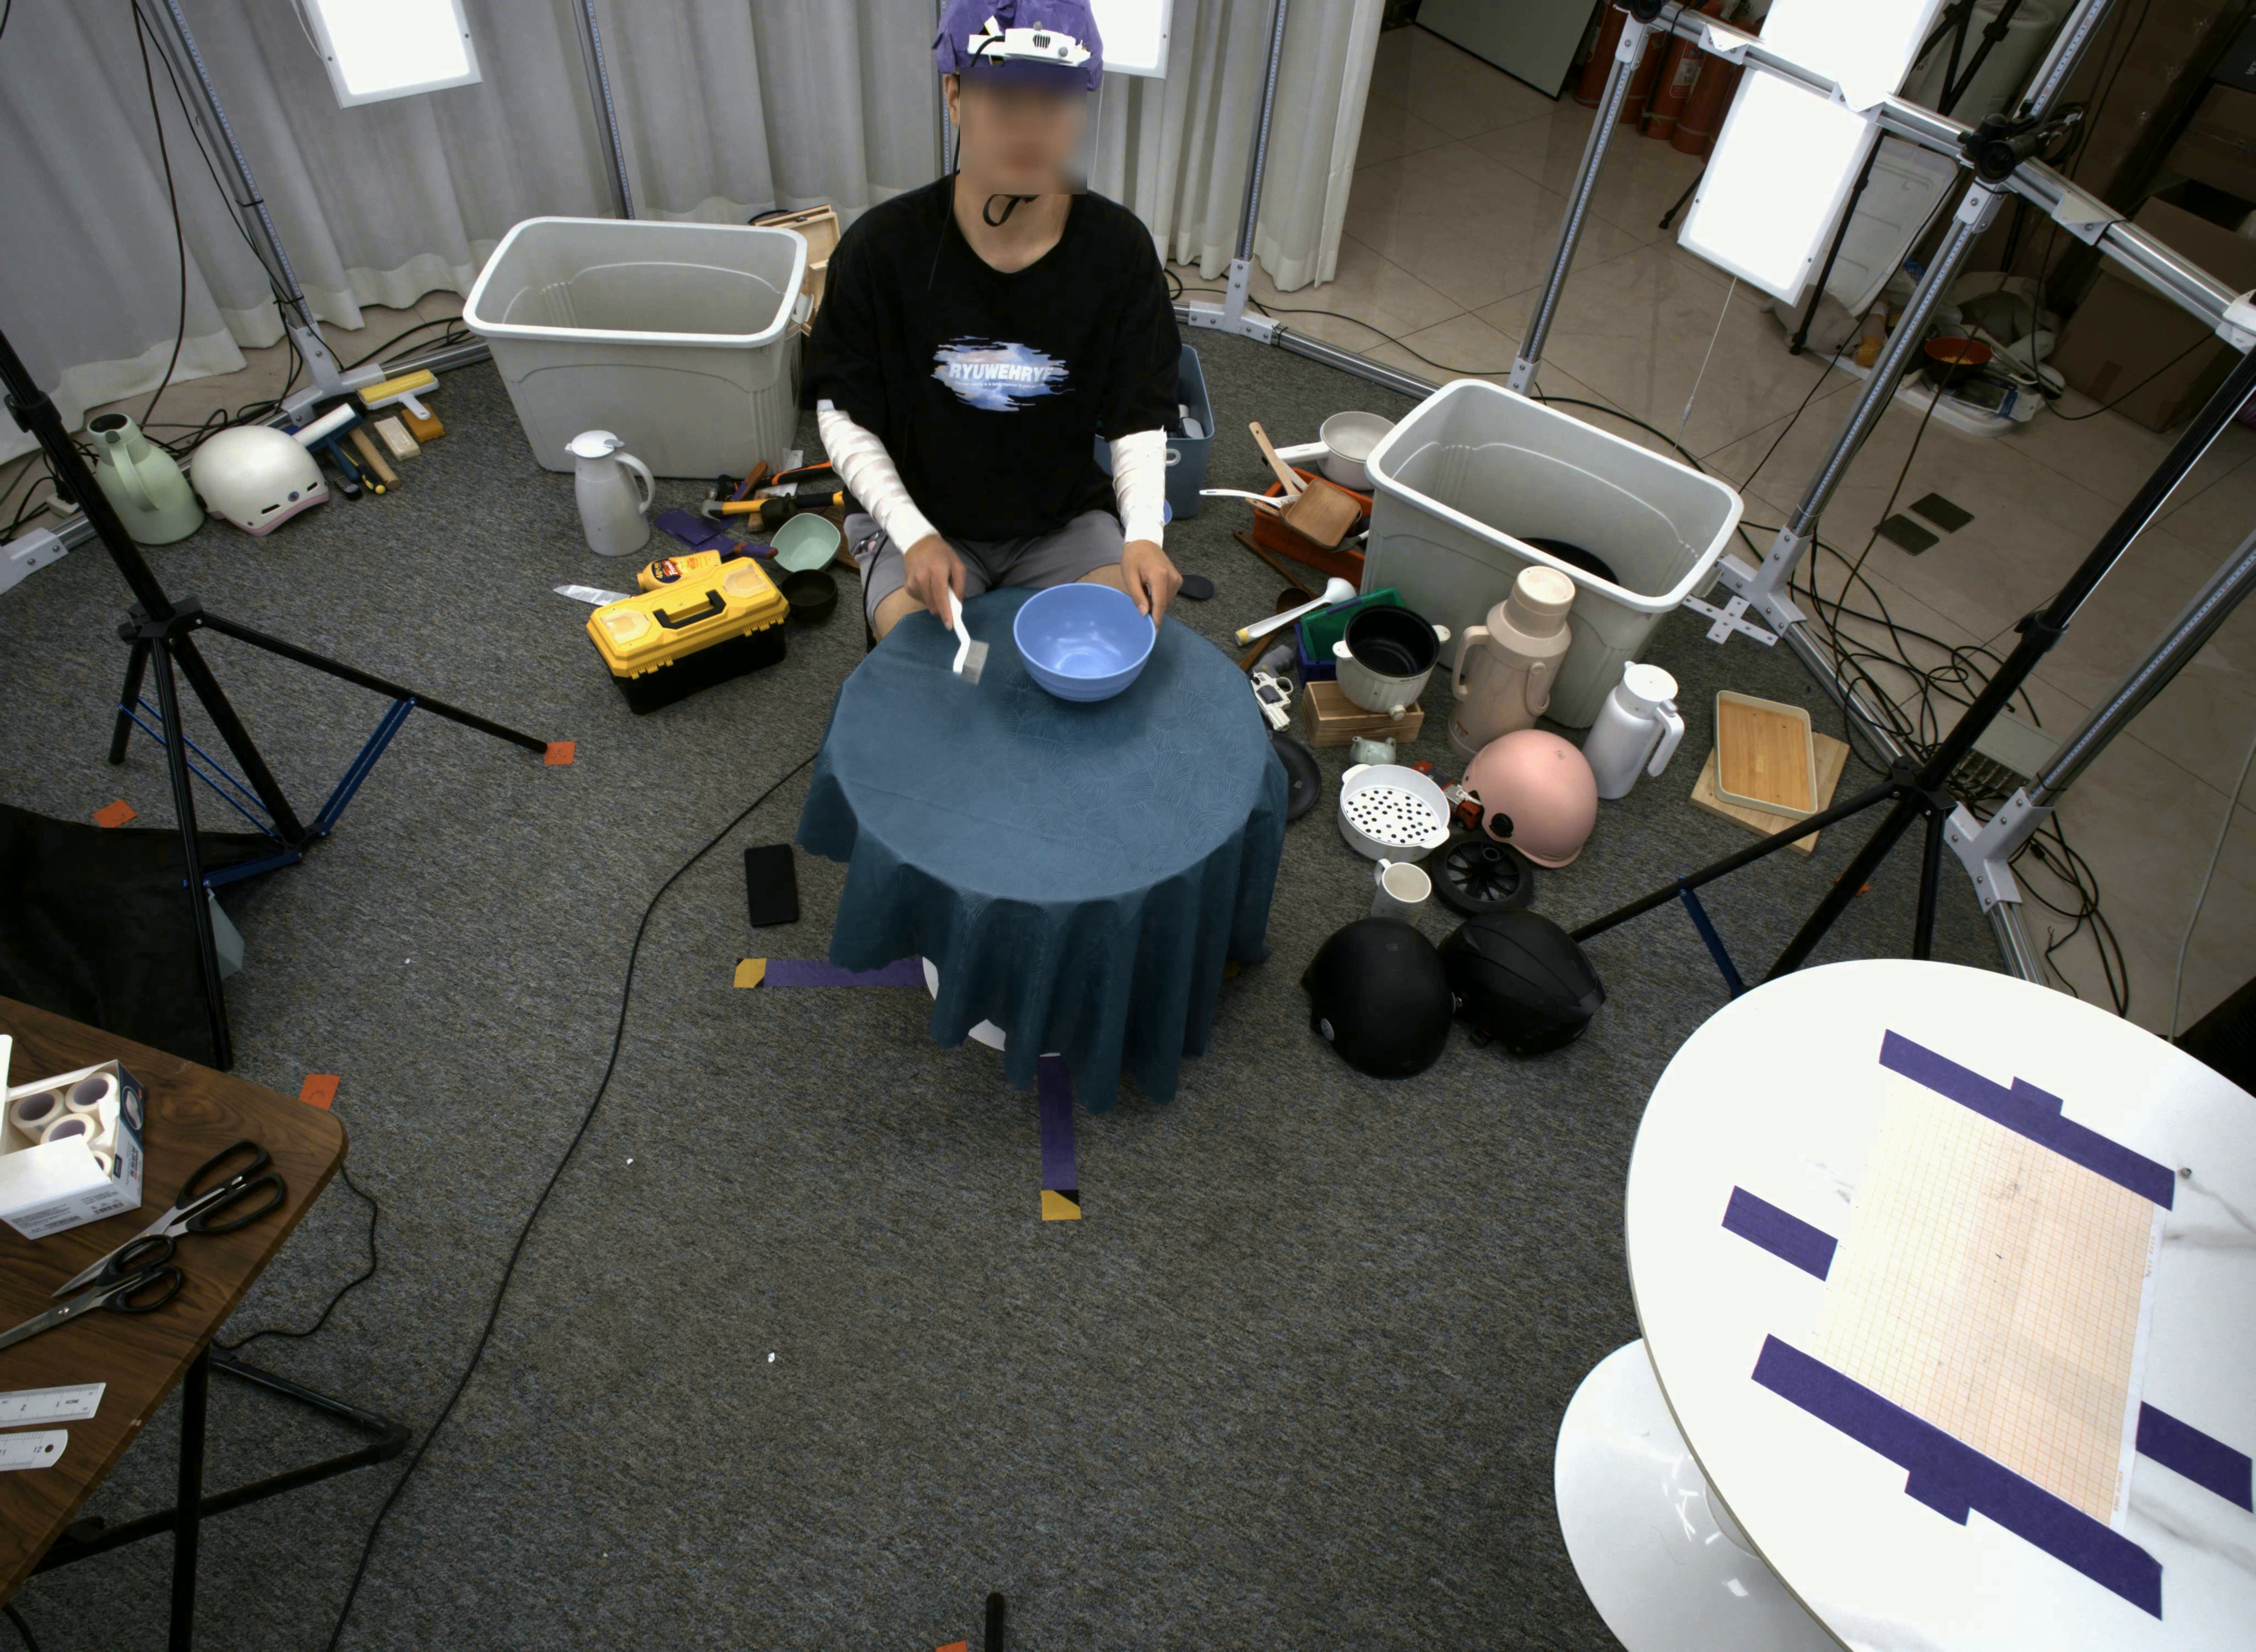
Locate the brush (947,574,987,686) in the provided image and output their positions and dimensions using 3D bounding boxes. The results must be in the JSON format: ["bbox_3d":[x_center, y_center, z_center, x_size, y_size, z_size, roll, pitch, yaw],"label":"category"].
[{"bbox_3d":[-0.227,-0.281,1.813,0.050,0.033,0.250,4,41,-13],"label":"brush"}]

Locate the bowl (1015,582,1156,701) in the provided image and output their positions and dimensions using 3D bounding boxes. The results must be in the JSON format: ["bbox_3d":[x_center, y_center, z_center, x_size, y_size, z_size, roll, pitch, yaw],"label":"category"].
[{"bbox_3d":[-0.060,-0.246,1.819,0.196,0.093,0.201,1,51,-2],"label":"bowl"}]
